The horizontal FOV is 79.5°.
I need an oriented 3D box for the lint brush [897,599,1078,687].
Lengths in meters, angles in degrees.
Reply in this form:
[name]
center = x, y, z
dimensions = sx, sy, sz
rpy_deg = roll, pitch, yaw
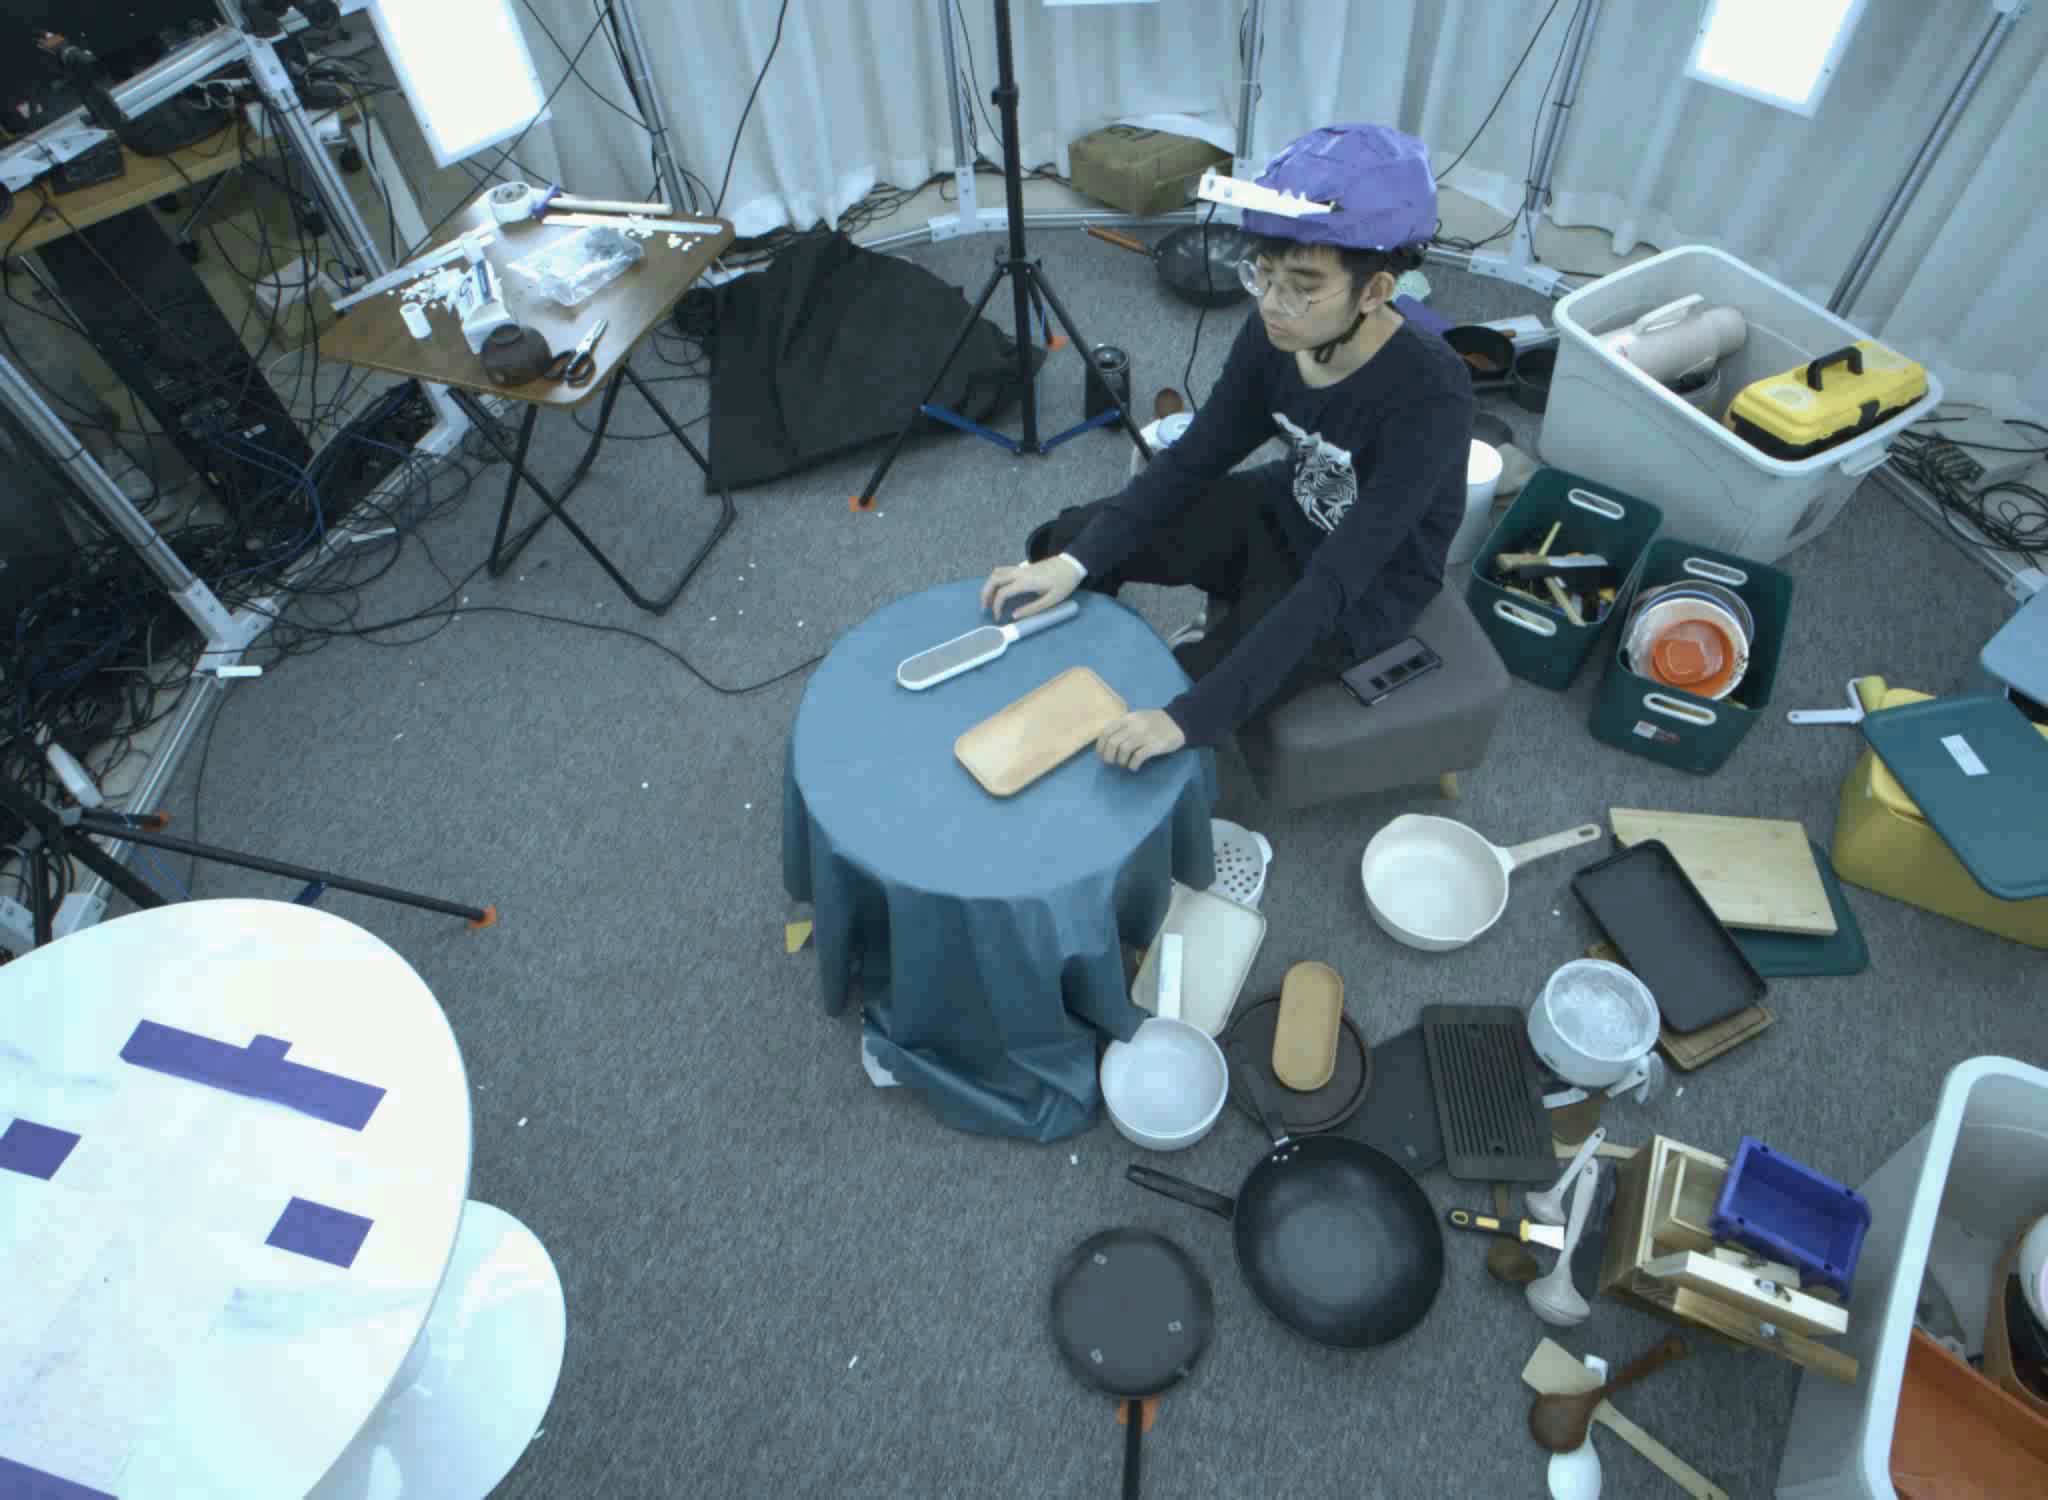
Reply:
[lint brush]
center = -0.053, -0.169, 1.900
dimensions = 0.311, 0.021, 0.059
rpy_deg = -24, 52, -15

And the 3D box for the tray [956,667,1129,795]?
[tray]
center = 0.028, -0.029, 1.805
dimensions = 0.253, 0.023, 0.128
rpy_deg = -30, 61, -19
